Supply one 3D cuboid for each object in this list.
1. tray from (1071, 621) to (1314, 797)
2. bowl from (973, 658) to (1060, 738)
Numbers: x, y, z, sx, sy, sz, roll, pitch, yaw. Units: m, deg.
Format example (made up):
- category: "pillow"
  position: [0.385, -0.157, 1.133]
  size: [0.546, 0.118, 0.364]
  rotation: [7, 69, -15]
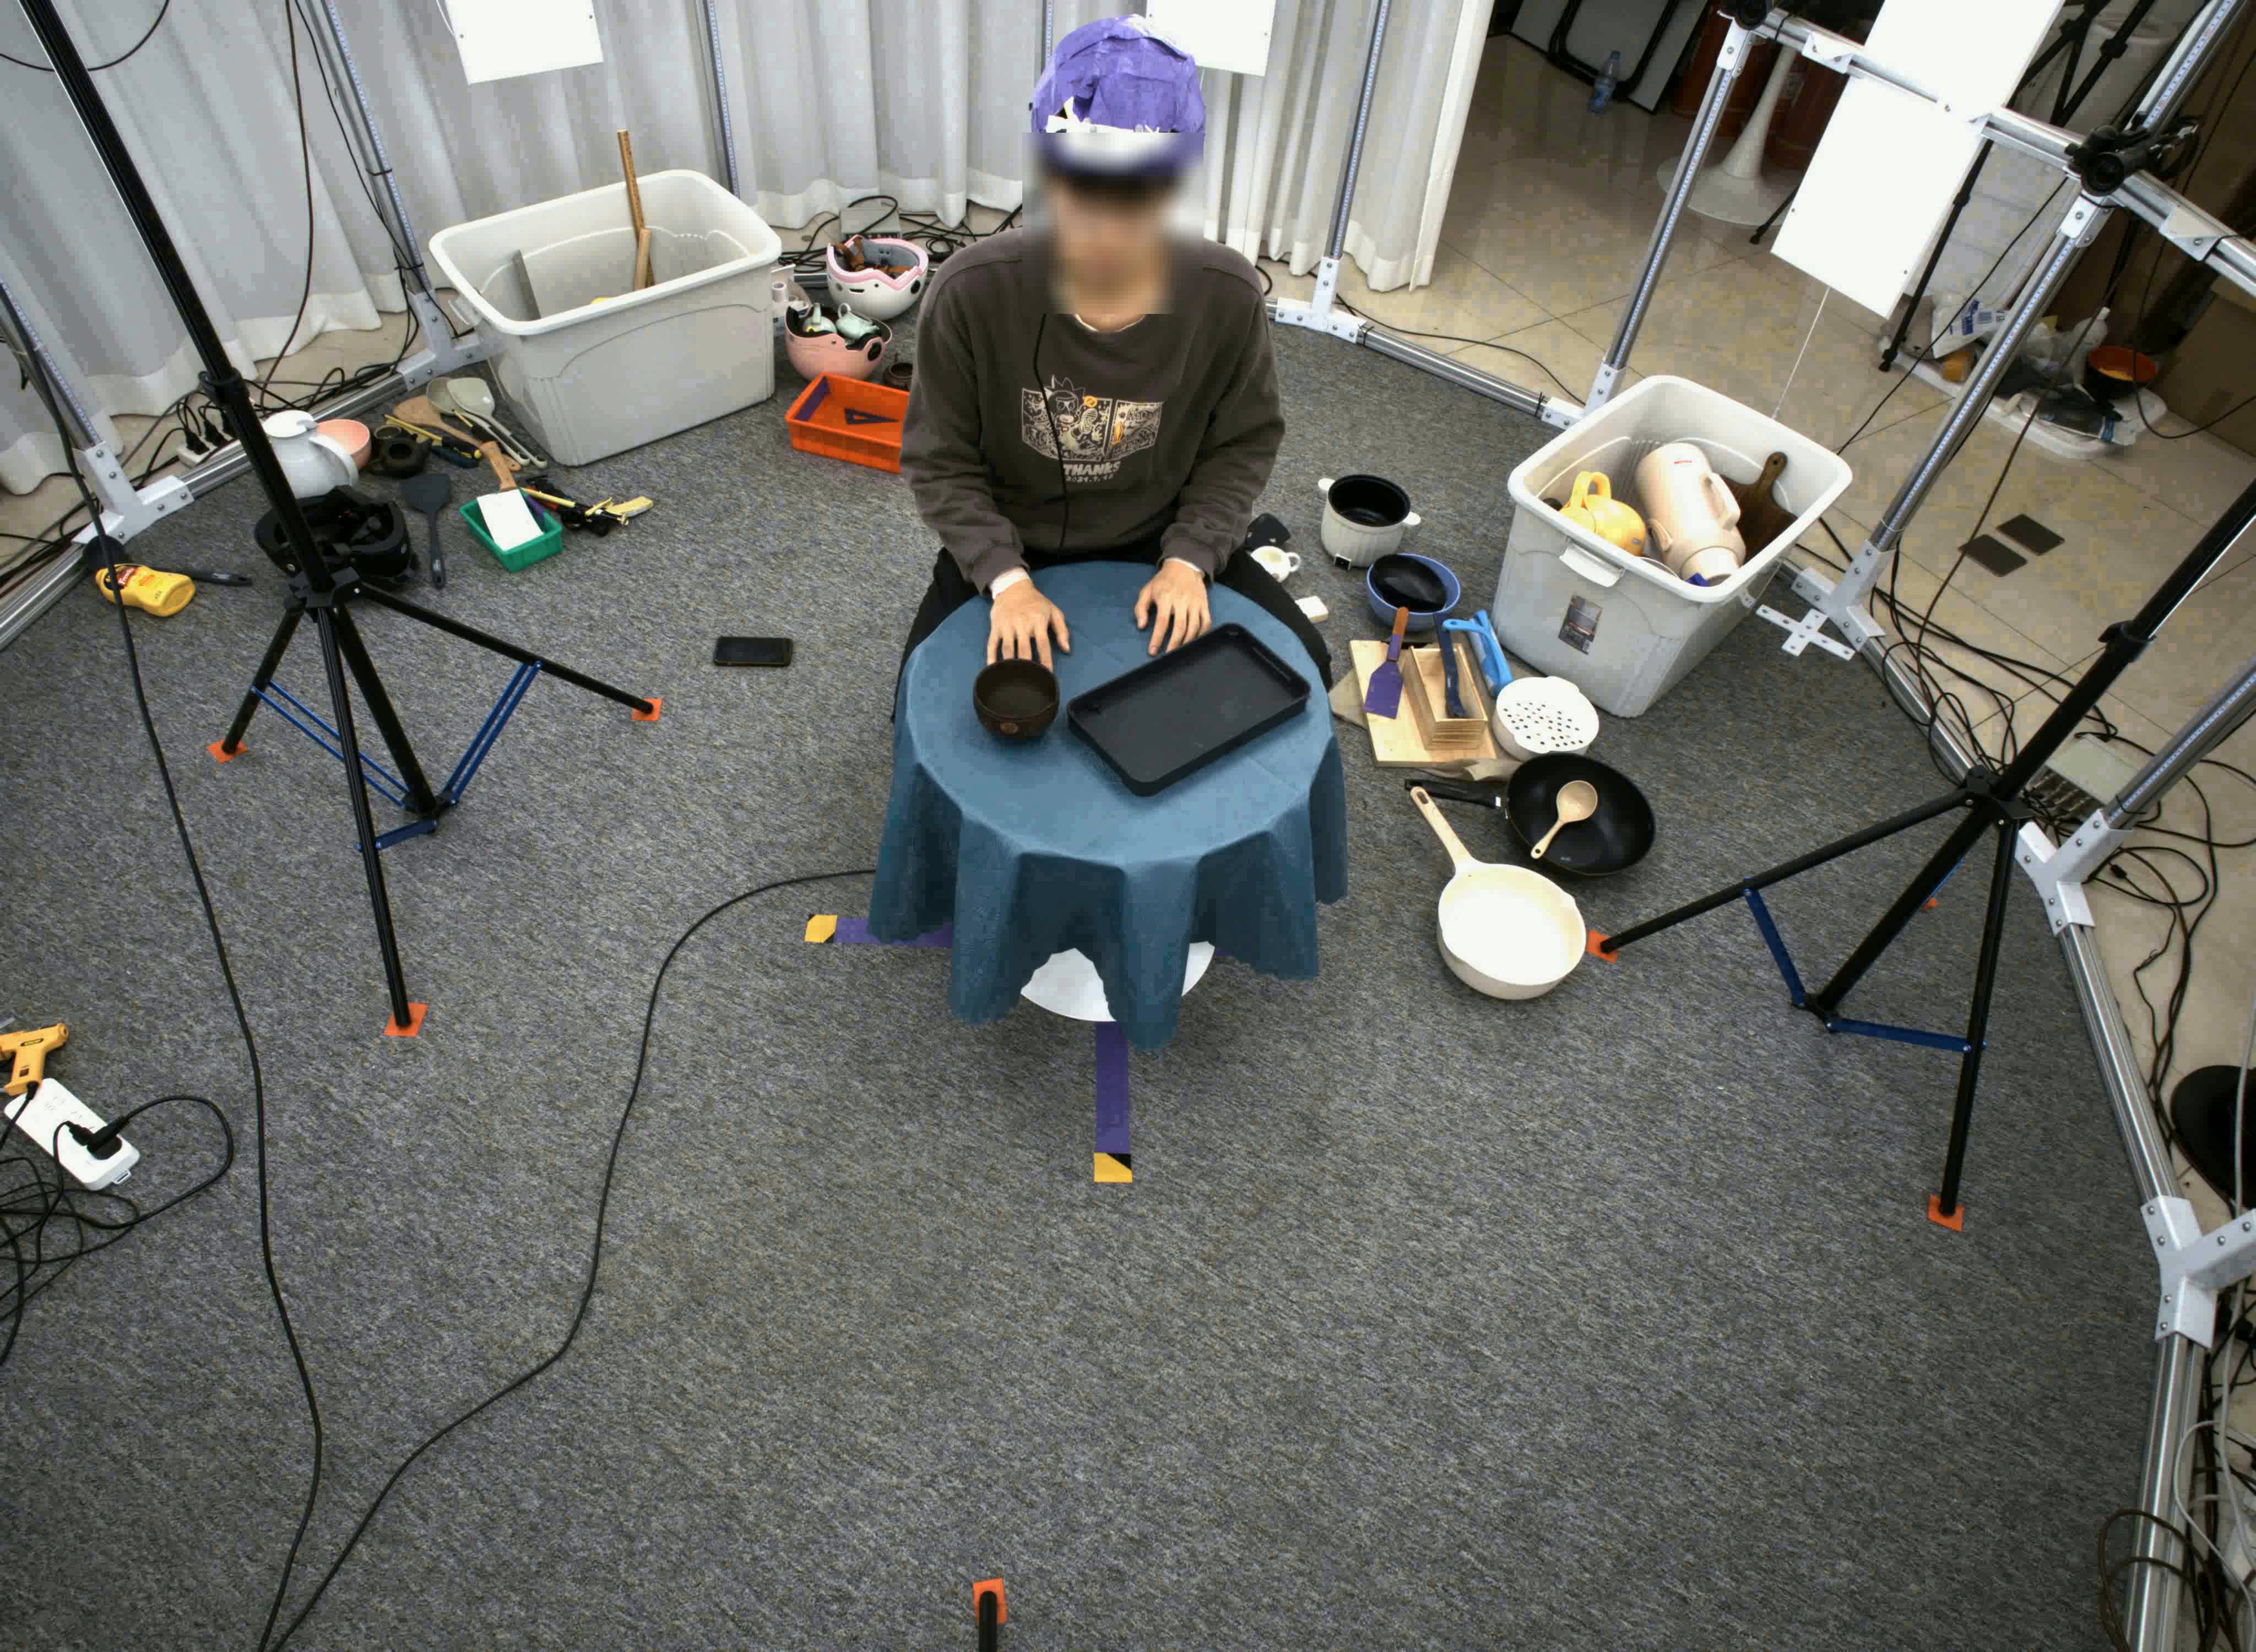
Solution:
- category: "tray"
  position: [0.091, -0.170, 1.796]
  size: [0.320, 0.036, 0.187]
  rotation: [-31, 57, -26]
- category: "bowl"
  position: [-0.152, -0.166, 1.754]
  size: [0.118, 0.068, 0.121]
  rotation: [2, 48, -2]
